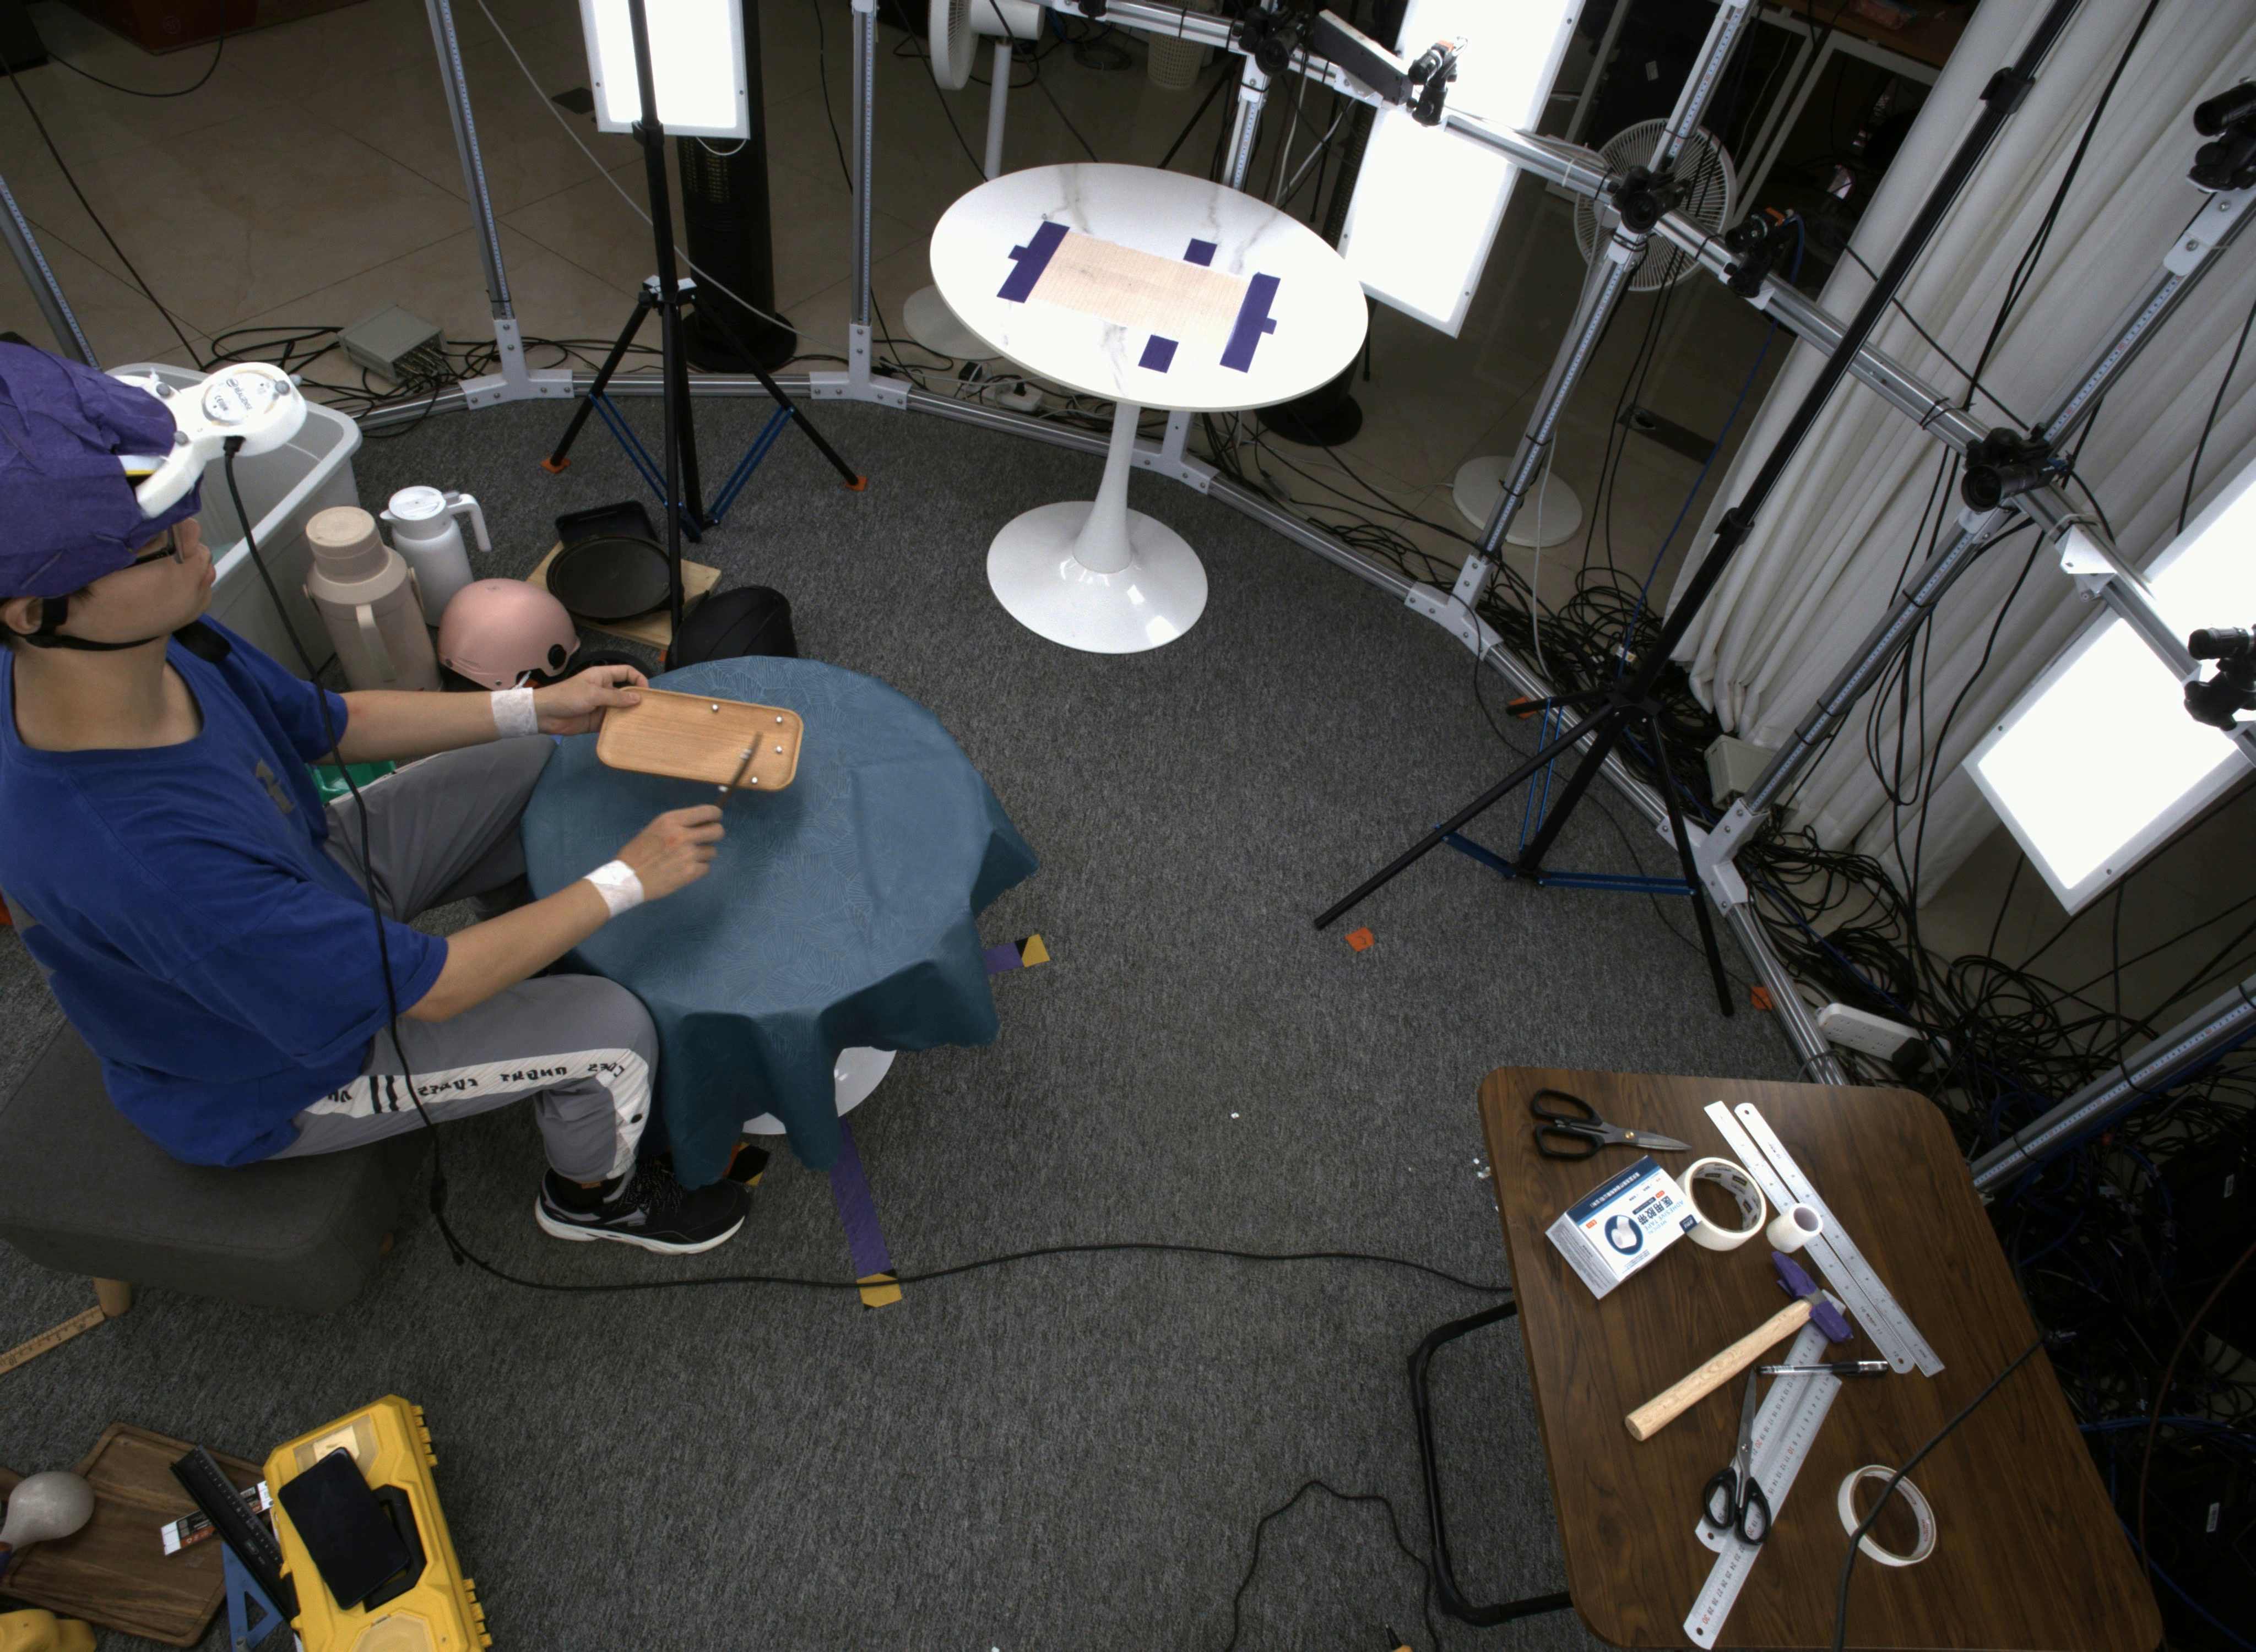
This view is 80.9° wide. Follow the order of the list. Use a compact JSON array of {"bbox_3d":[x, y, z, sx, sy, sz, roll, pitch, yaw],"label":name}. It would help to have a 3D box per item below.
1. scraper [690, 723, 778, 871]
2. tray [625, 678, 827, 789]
[{"bbox_3d":[-0.487,-0.035,1.601,0.011,0.075,0.210,30,63,-9],"label":"scraper"},{"bbox_3d":[-0.525,-0.120,1.685,0.251,0.023,0.129,10,58,-11],"label":"tray"}]
